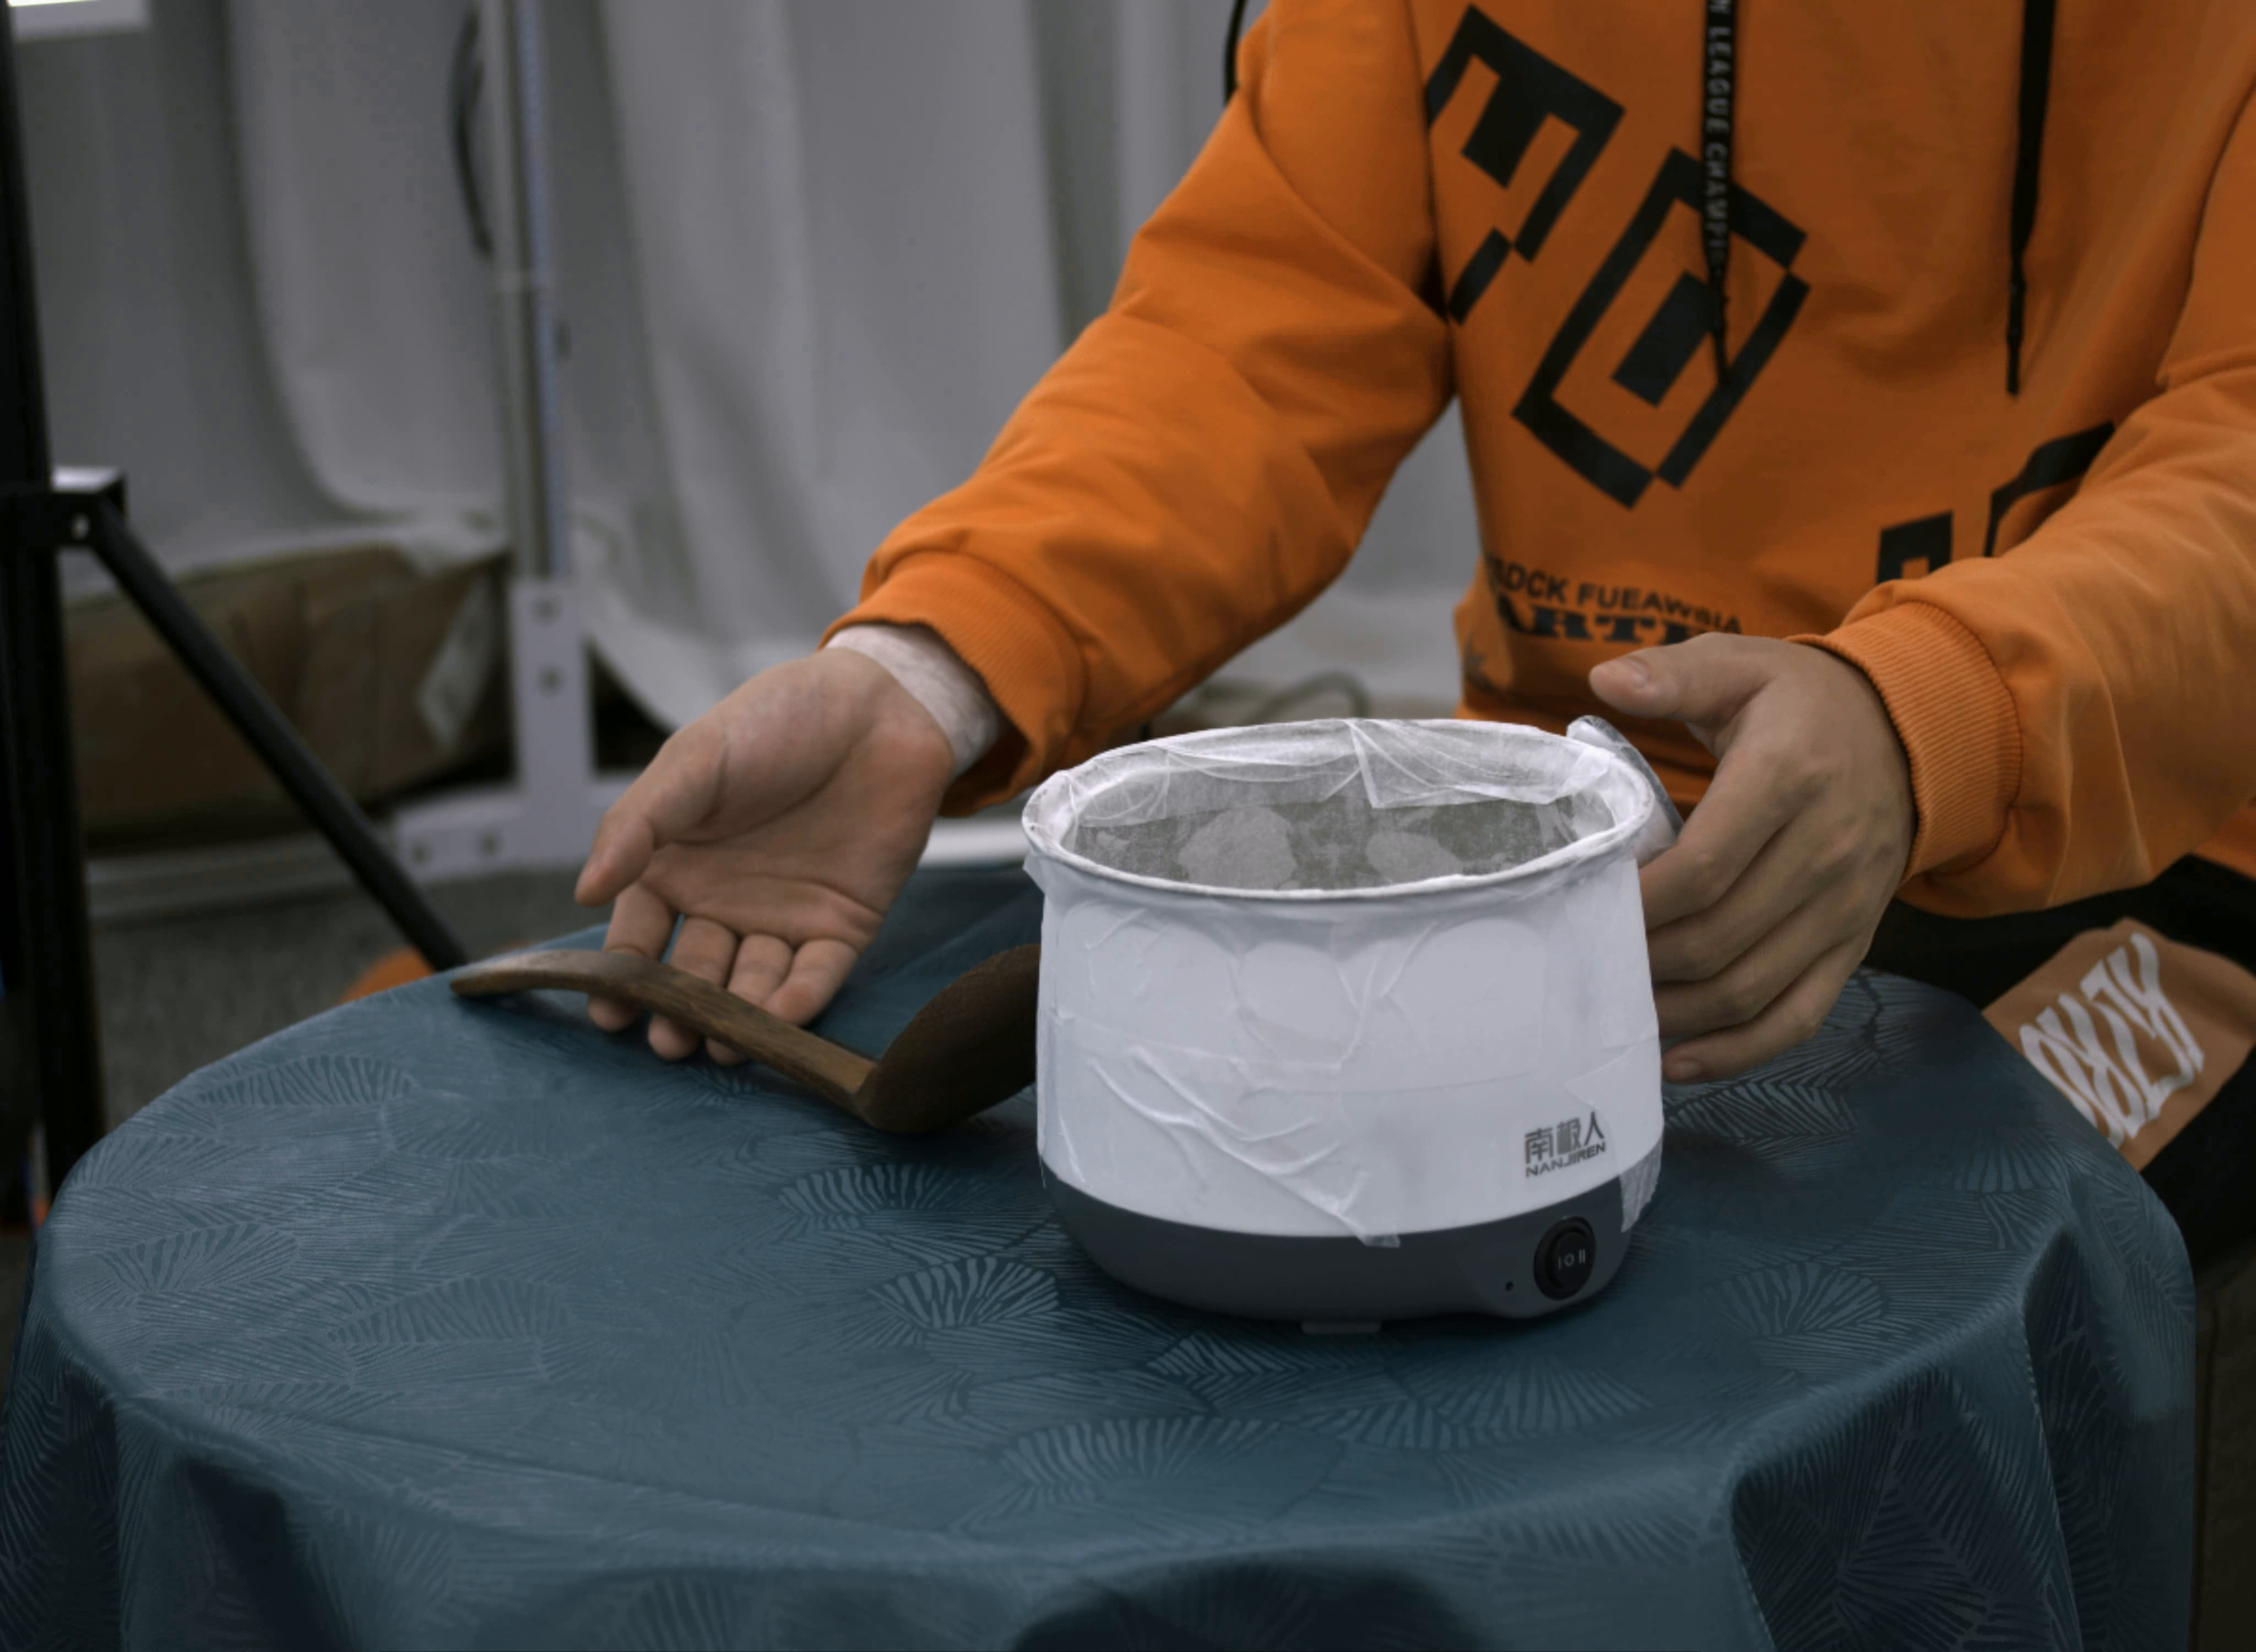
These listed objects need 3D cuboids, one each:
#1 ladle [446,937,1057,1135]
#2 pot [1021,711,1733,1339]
[{"bbox_3d":[-0.125,0.044,1.675,0.074,0.071,0.280,-16,21,-40],"label":"ladle"},{"bbox_3d":[0.082,0.048,1.503,0.228,0.136,0.183,-16,21,-38],"label":"pot"}]
